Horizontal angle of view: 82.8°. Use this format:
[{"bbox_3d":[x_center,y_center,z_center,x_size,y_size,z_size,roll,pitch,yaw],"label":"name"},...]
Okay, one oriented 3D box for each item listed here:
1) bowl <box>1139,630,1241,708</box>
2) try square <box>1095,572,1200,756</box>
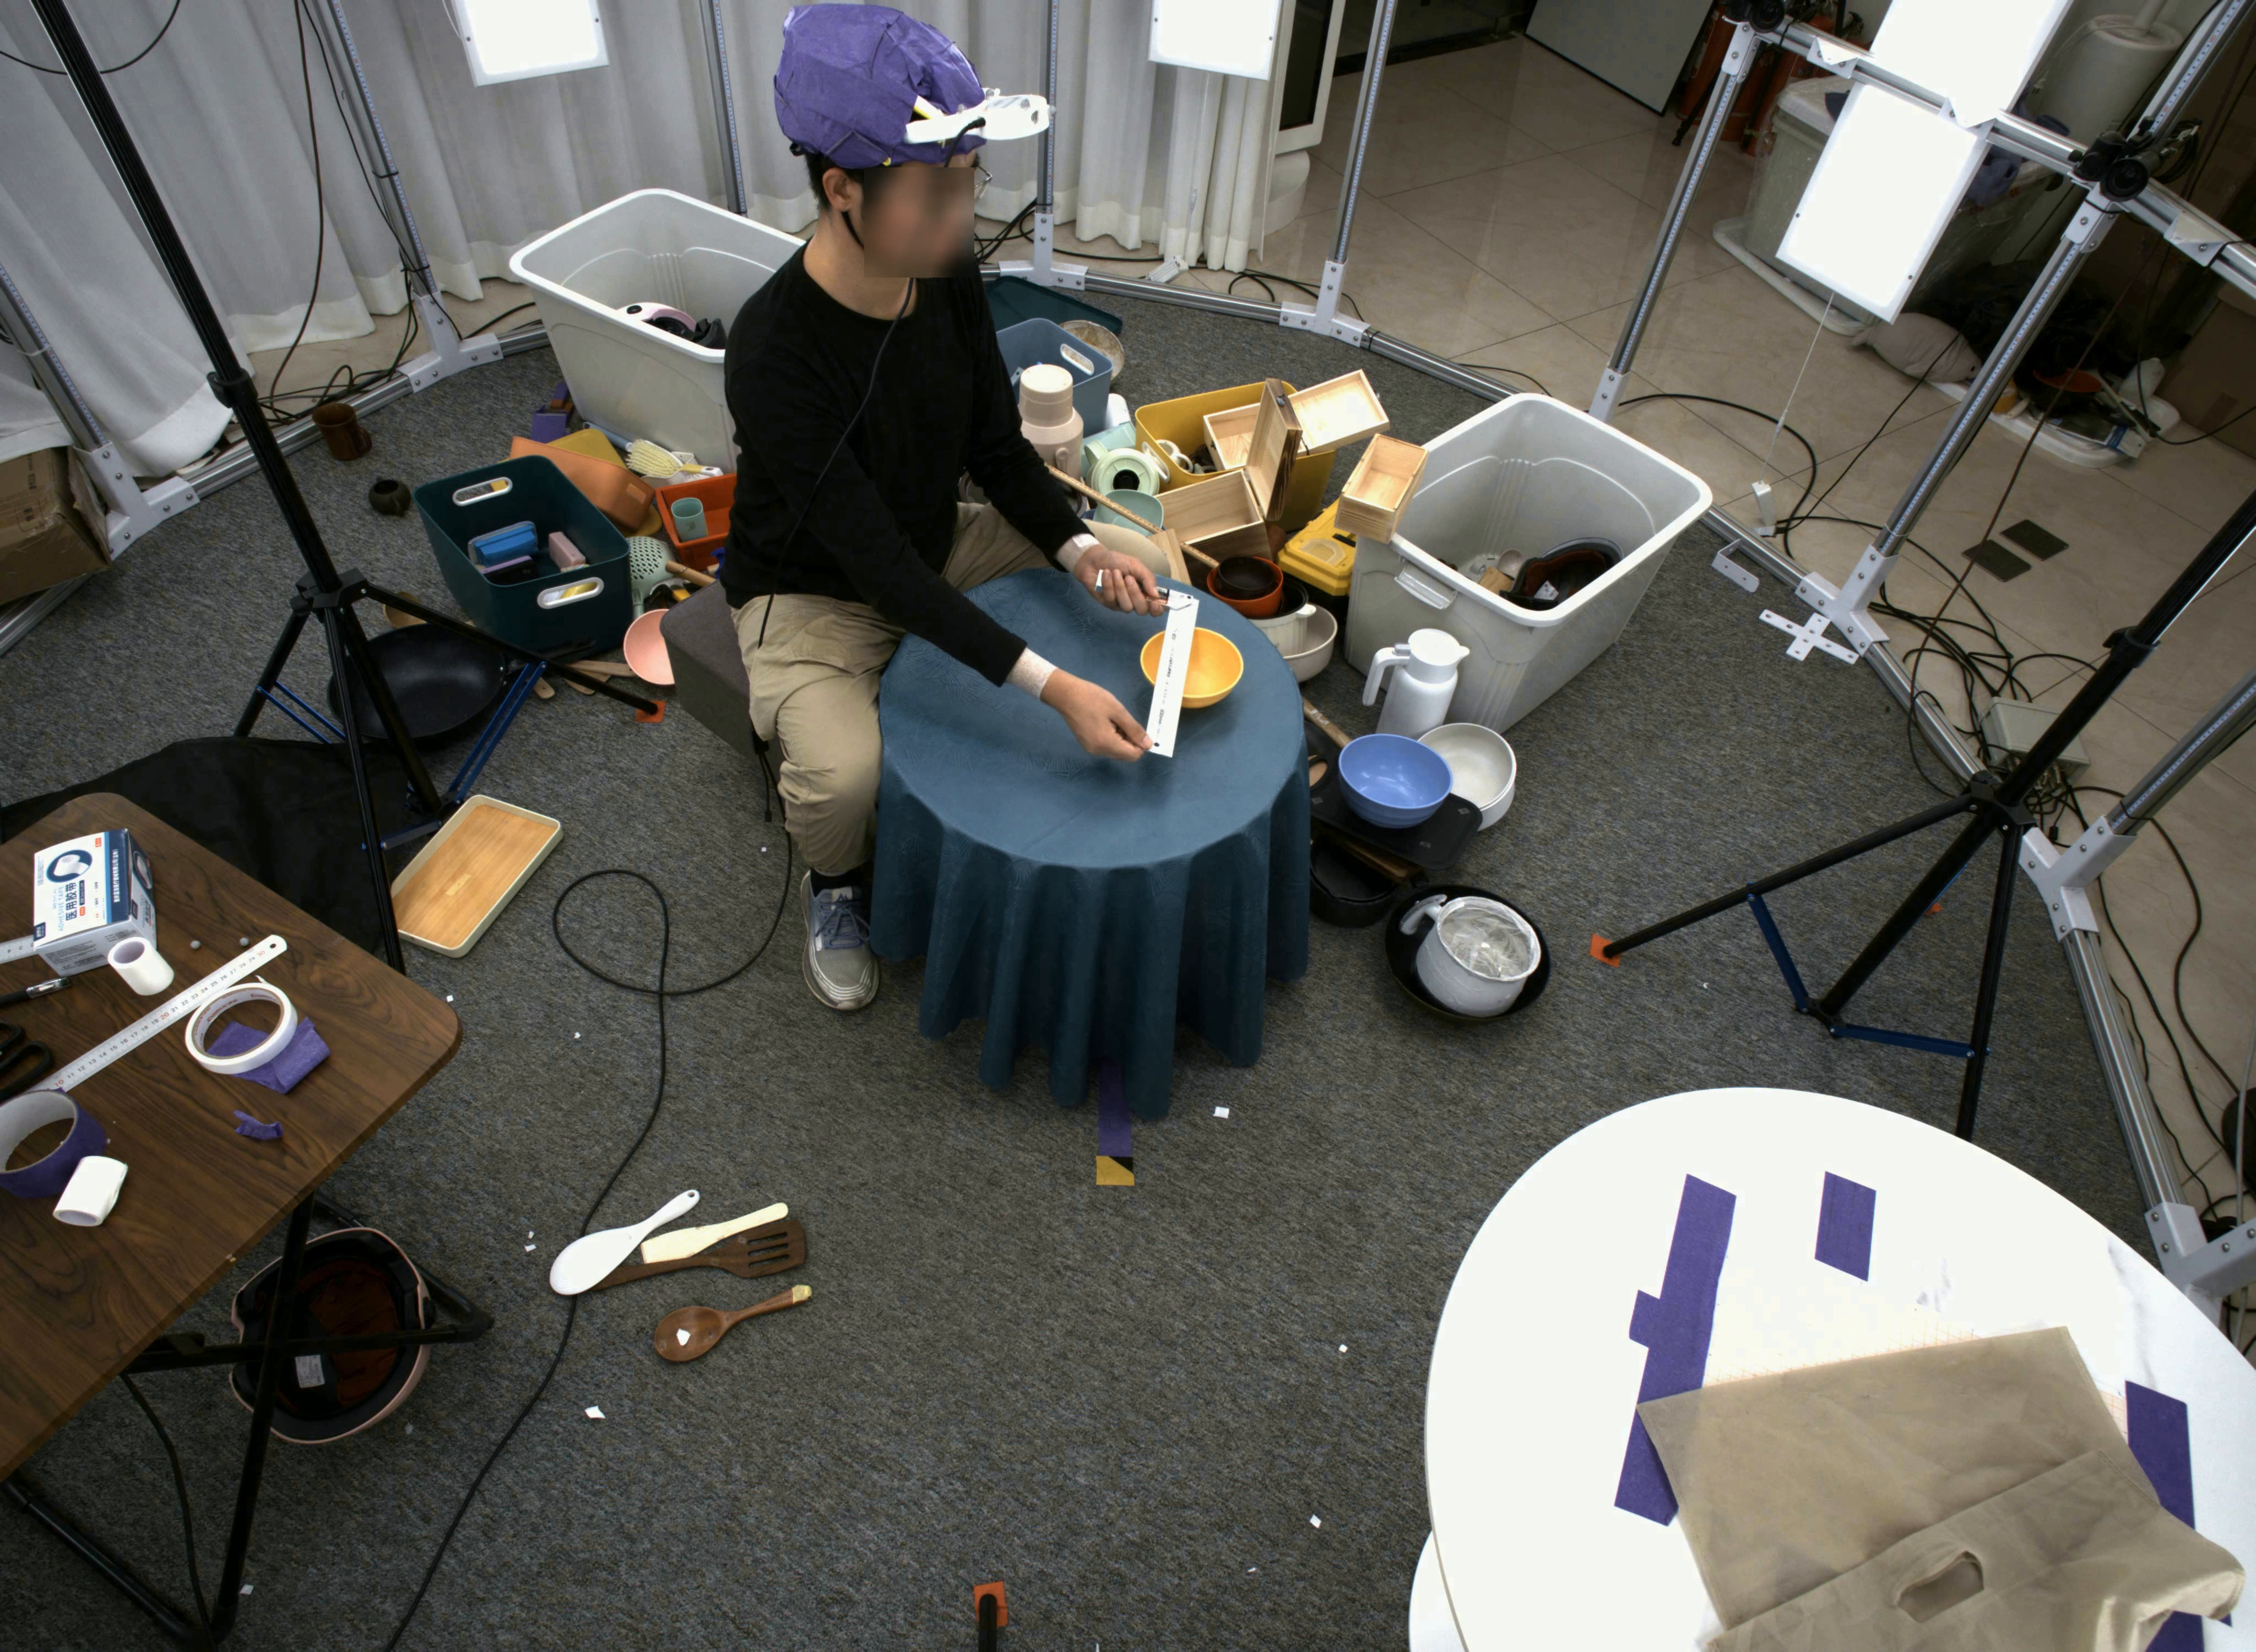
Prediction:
[{"bbox_3d":[0.085,-0.212,1.824,0.145,0.058,0.149,2,46,-2],"label":"bowl"},{"bbox_3d":[0.009,-0.230,1.777,0.152,0.015,0.320,13,51,-2],"label":"try square"}]
